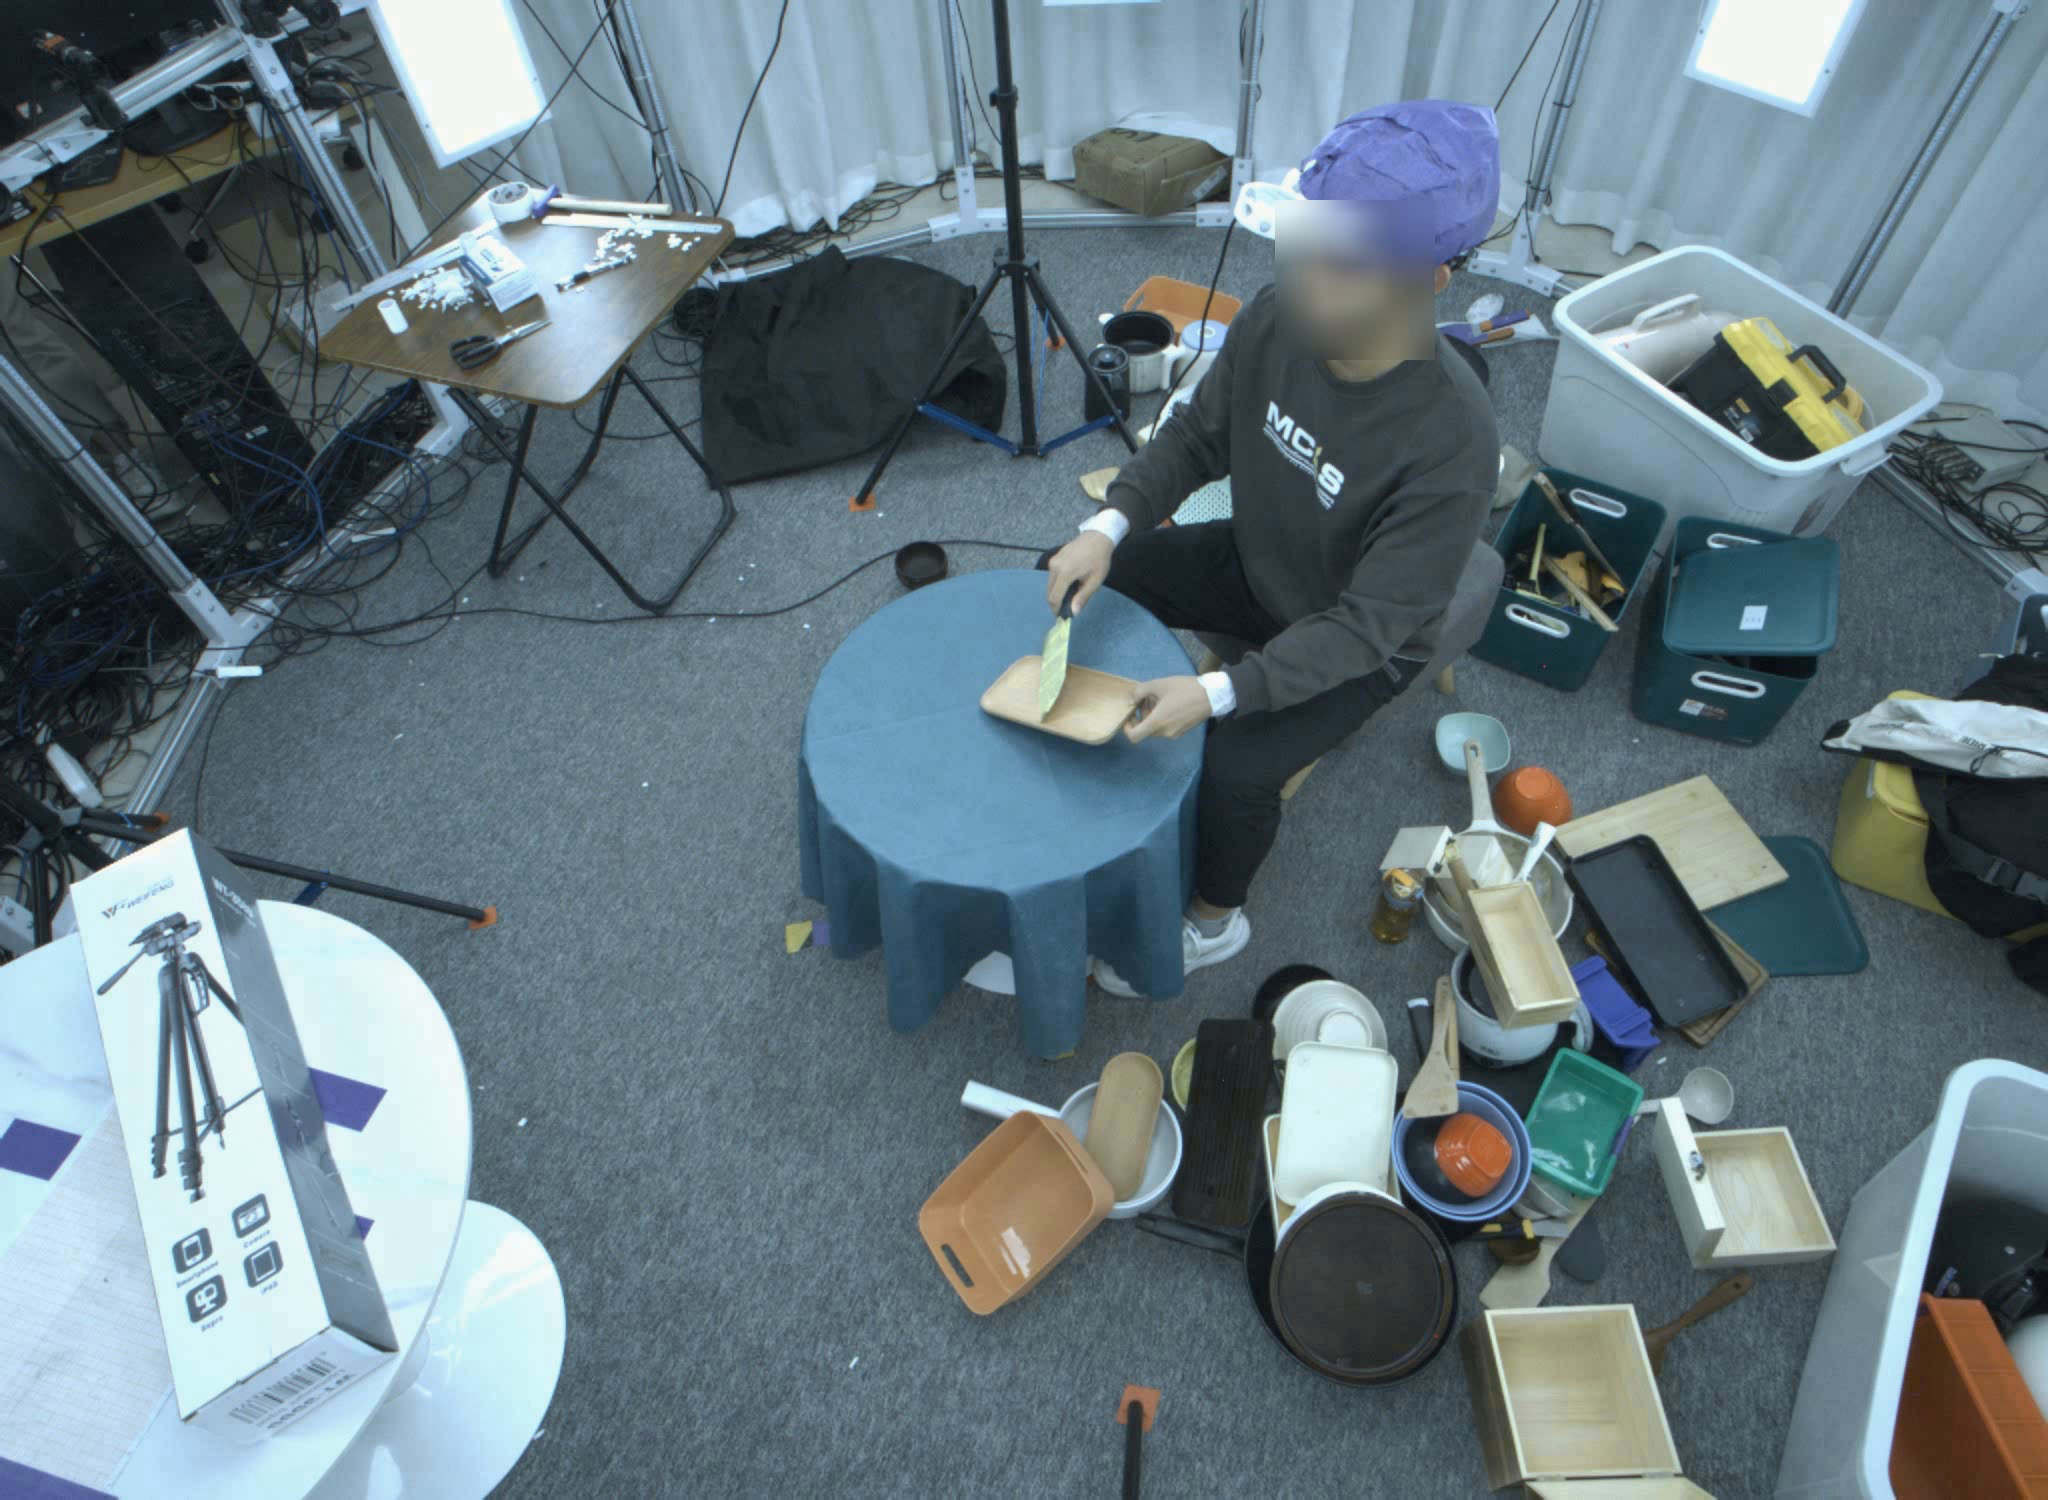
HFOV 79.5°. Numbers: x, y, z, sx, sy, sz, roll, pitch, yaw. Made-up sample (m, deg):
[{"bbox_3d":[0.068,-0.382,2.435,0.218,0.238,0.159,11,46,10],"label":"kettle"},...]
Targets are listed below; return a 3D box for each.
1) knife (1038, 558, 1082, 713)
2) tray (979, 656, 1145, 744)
[{"bbox_3d":[0.051,-0.171,1.827,0.028,0.080,0.287,26,53,-23],"label":"knife"},{"bbox_3d":[0.053,-0.074,1.788,0.245,0.023,0.131,17,51,40],"label":"tray"}]
